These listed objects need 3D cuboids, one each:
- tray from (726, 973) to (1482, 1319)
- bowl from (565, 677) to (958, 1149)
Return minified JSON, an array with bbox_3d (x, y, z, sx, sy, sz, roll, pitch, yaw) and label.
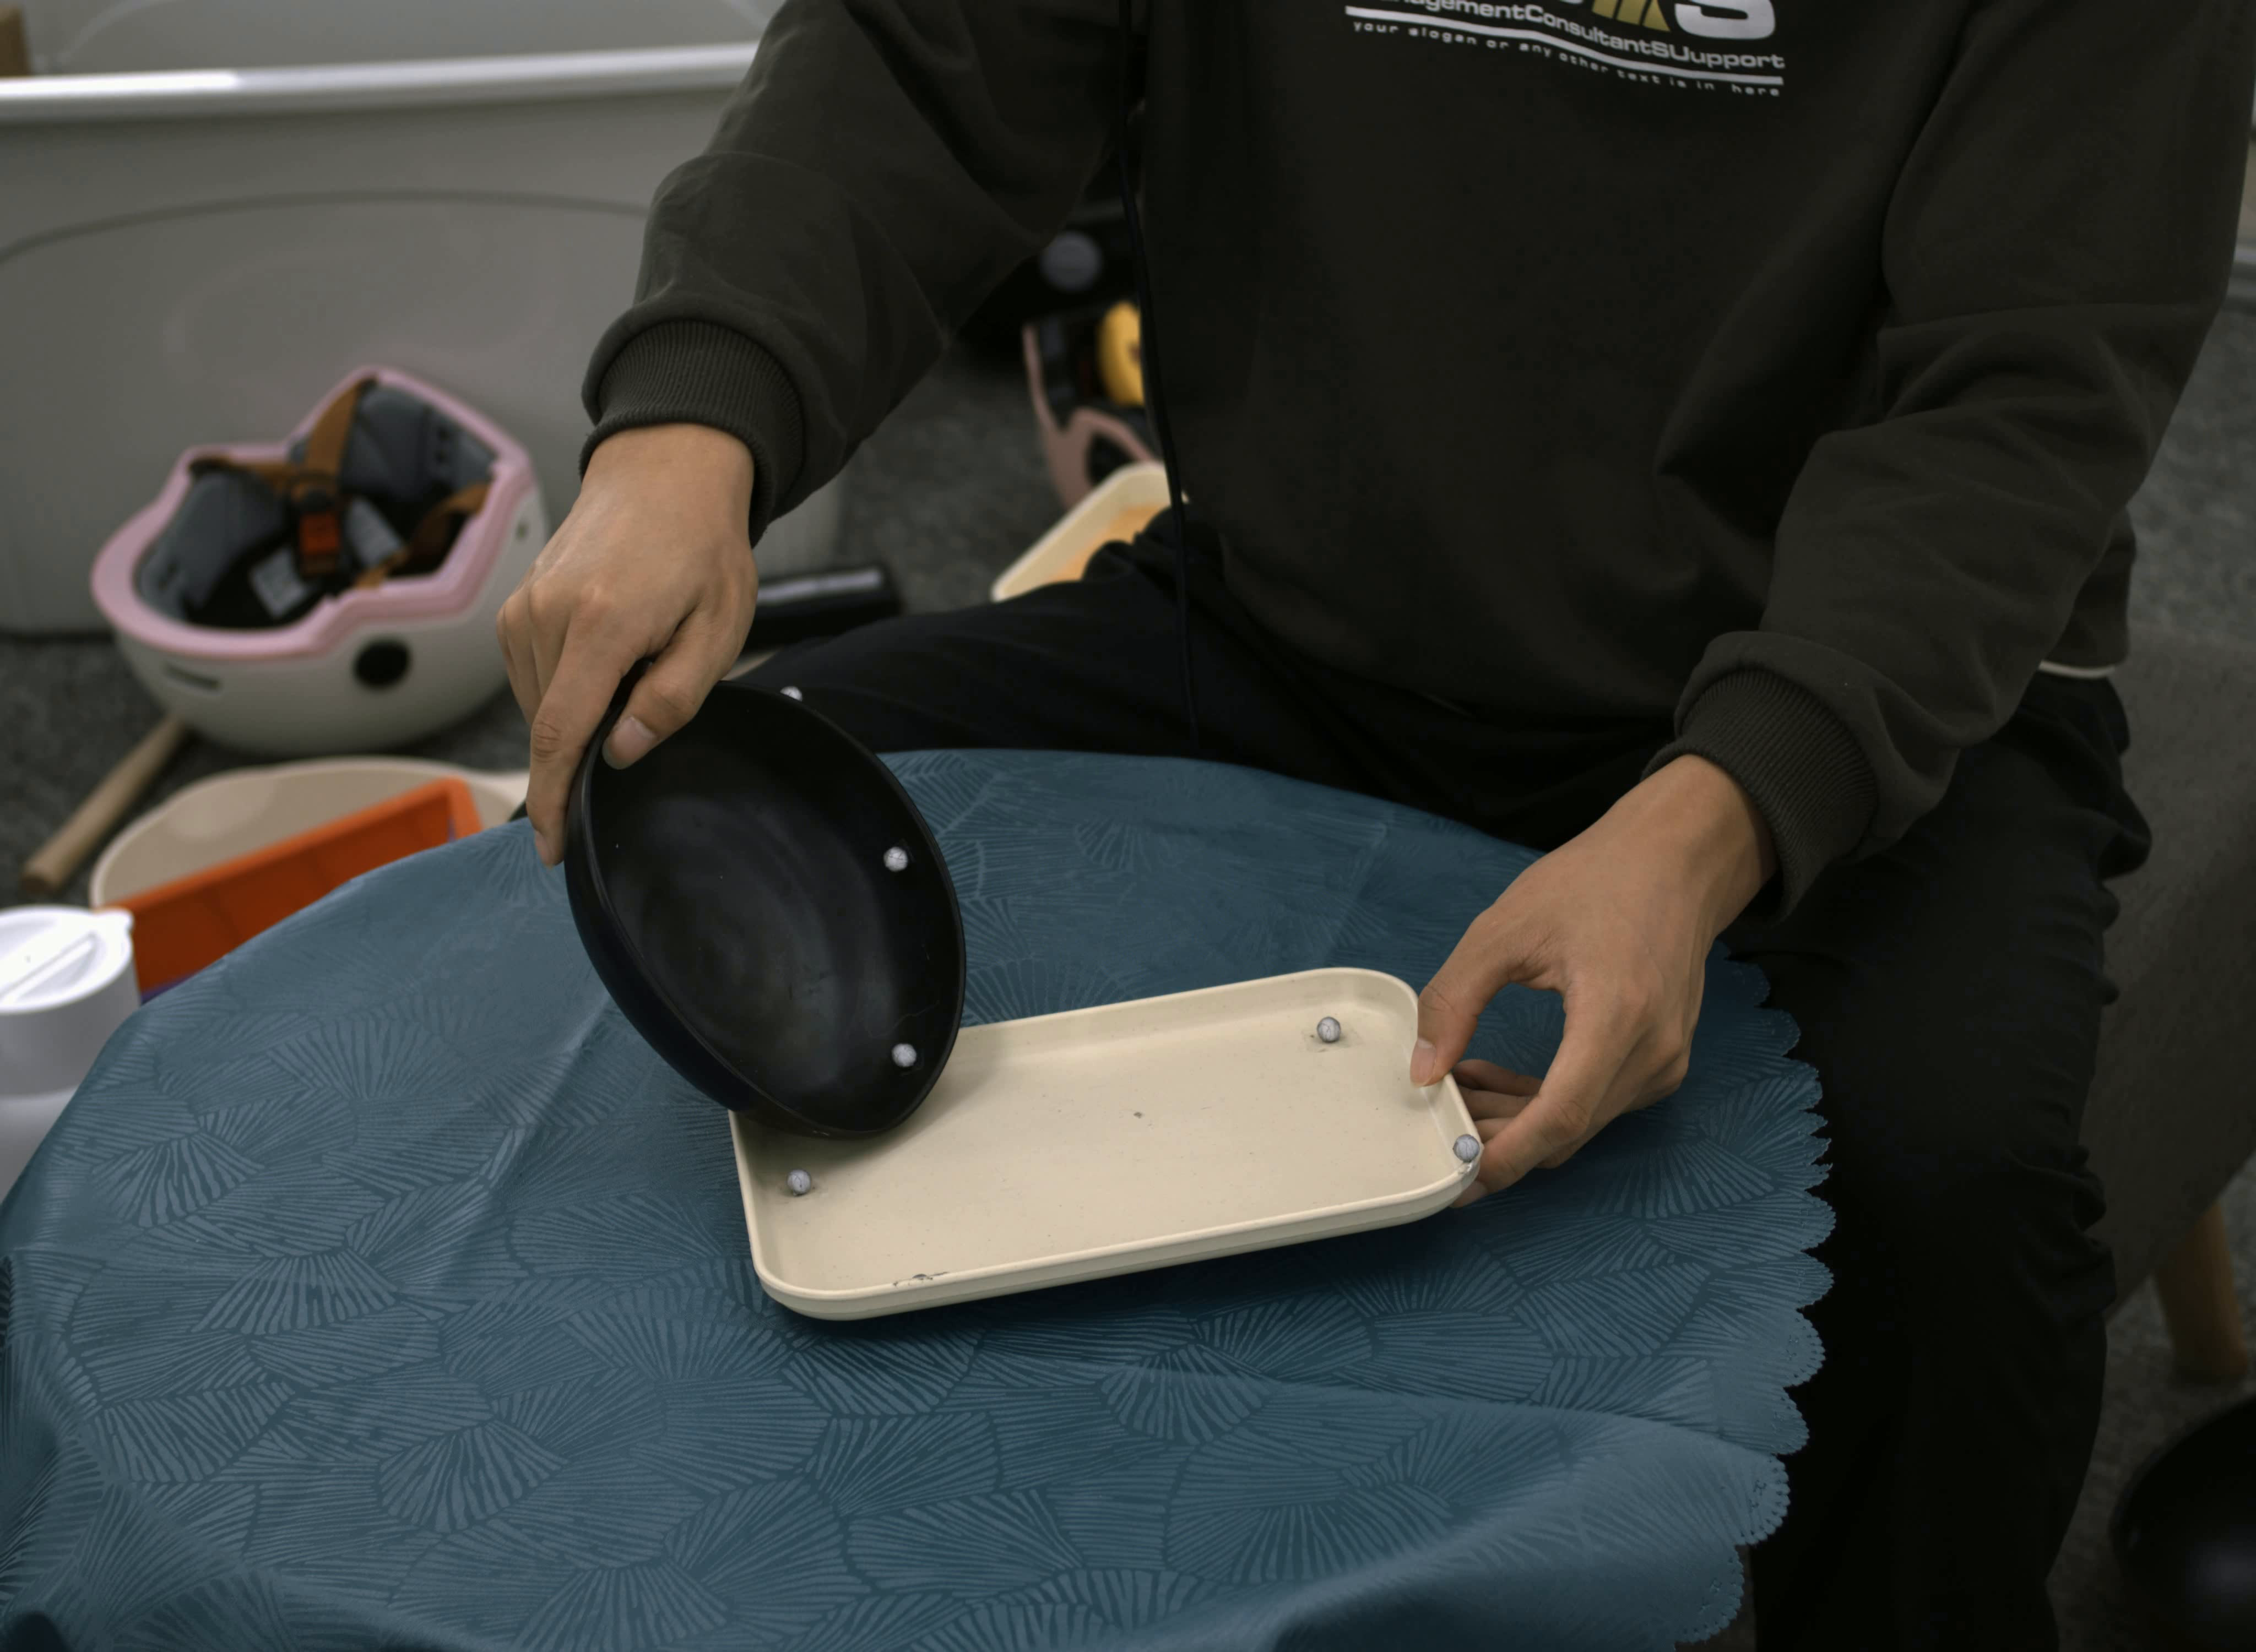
[{"bbox_3d":[-0.010,0.106,1.859,0.239,0.017,0.173,-9,24,-6],"label":"tray"},{"bbox_3d":[-0.131,0.035,1.903,0.139,0.170,0.065,-32,-1,-42],"label":"bowl"}]
